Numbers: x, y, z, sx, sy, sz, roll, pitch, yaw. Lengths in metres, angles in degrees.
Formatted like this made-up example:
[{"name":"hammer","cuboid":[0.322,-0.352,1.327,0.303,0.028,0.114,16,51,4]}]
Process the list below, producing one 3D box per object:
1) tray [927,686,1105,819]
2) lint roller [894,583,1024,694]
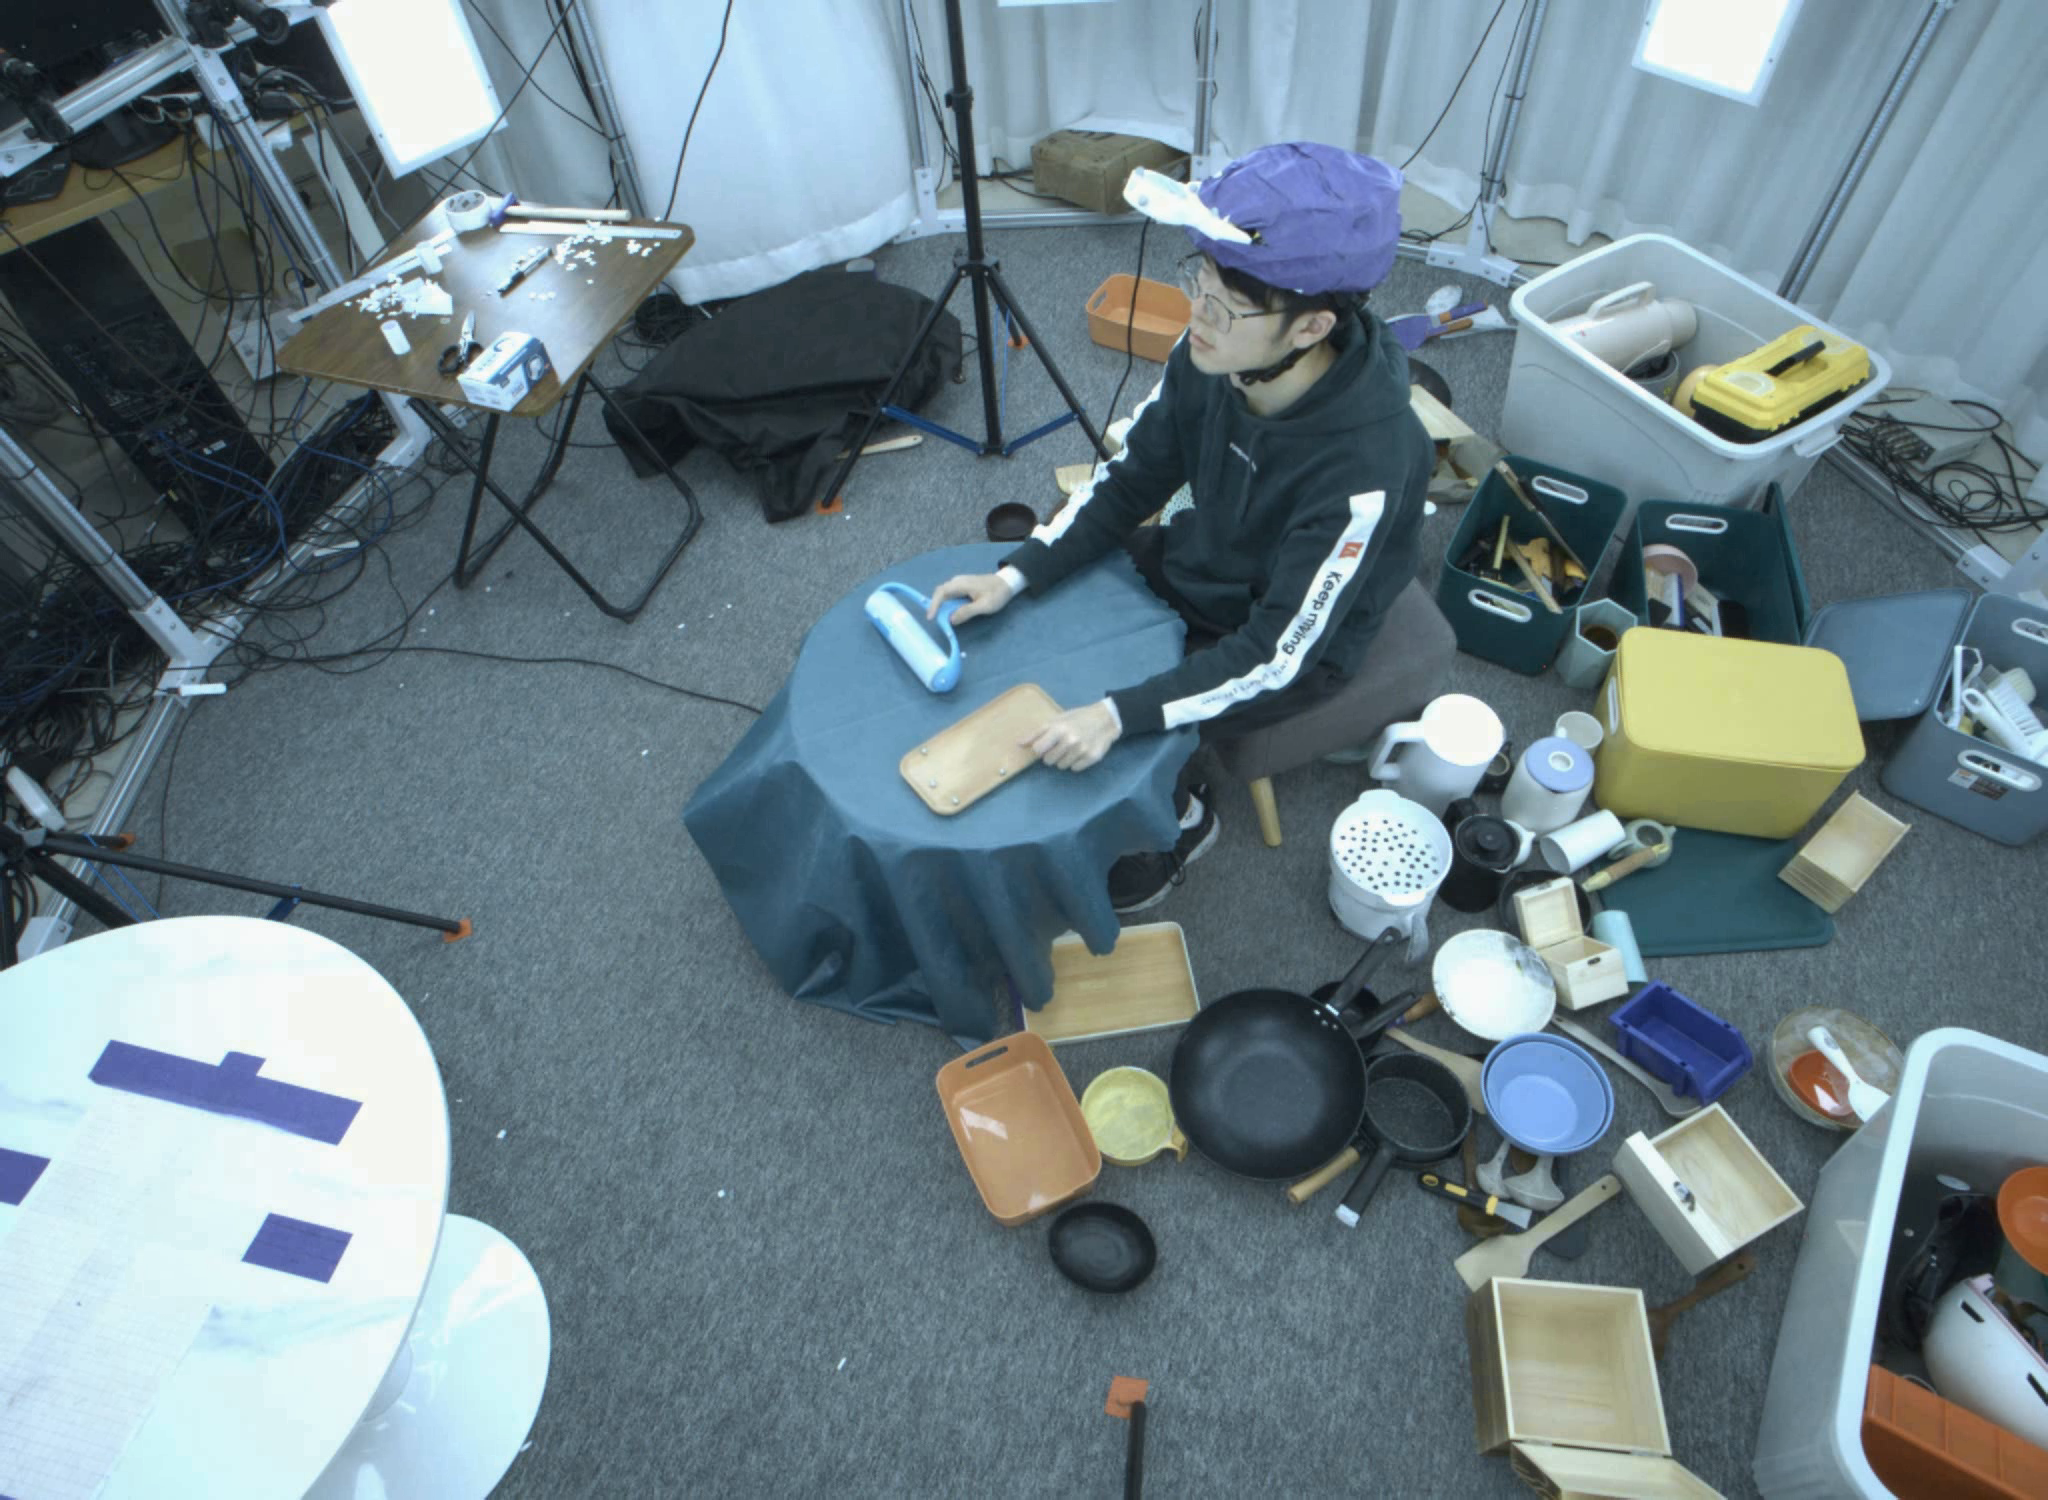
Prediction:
[{"name":"tray","cuboid":[-0.011,0.002,1.771,0.253,0.023,0.128,-30,61,-19]},{"name":"lint roller","cuboid":[-0.081,-0.196,1.890,0.181,0.069,0.224,-32,58,-18]}]
